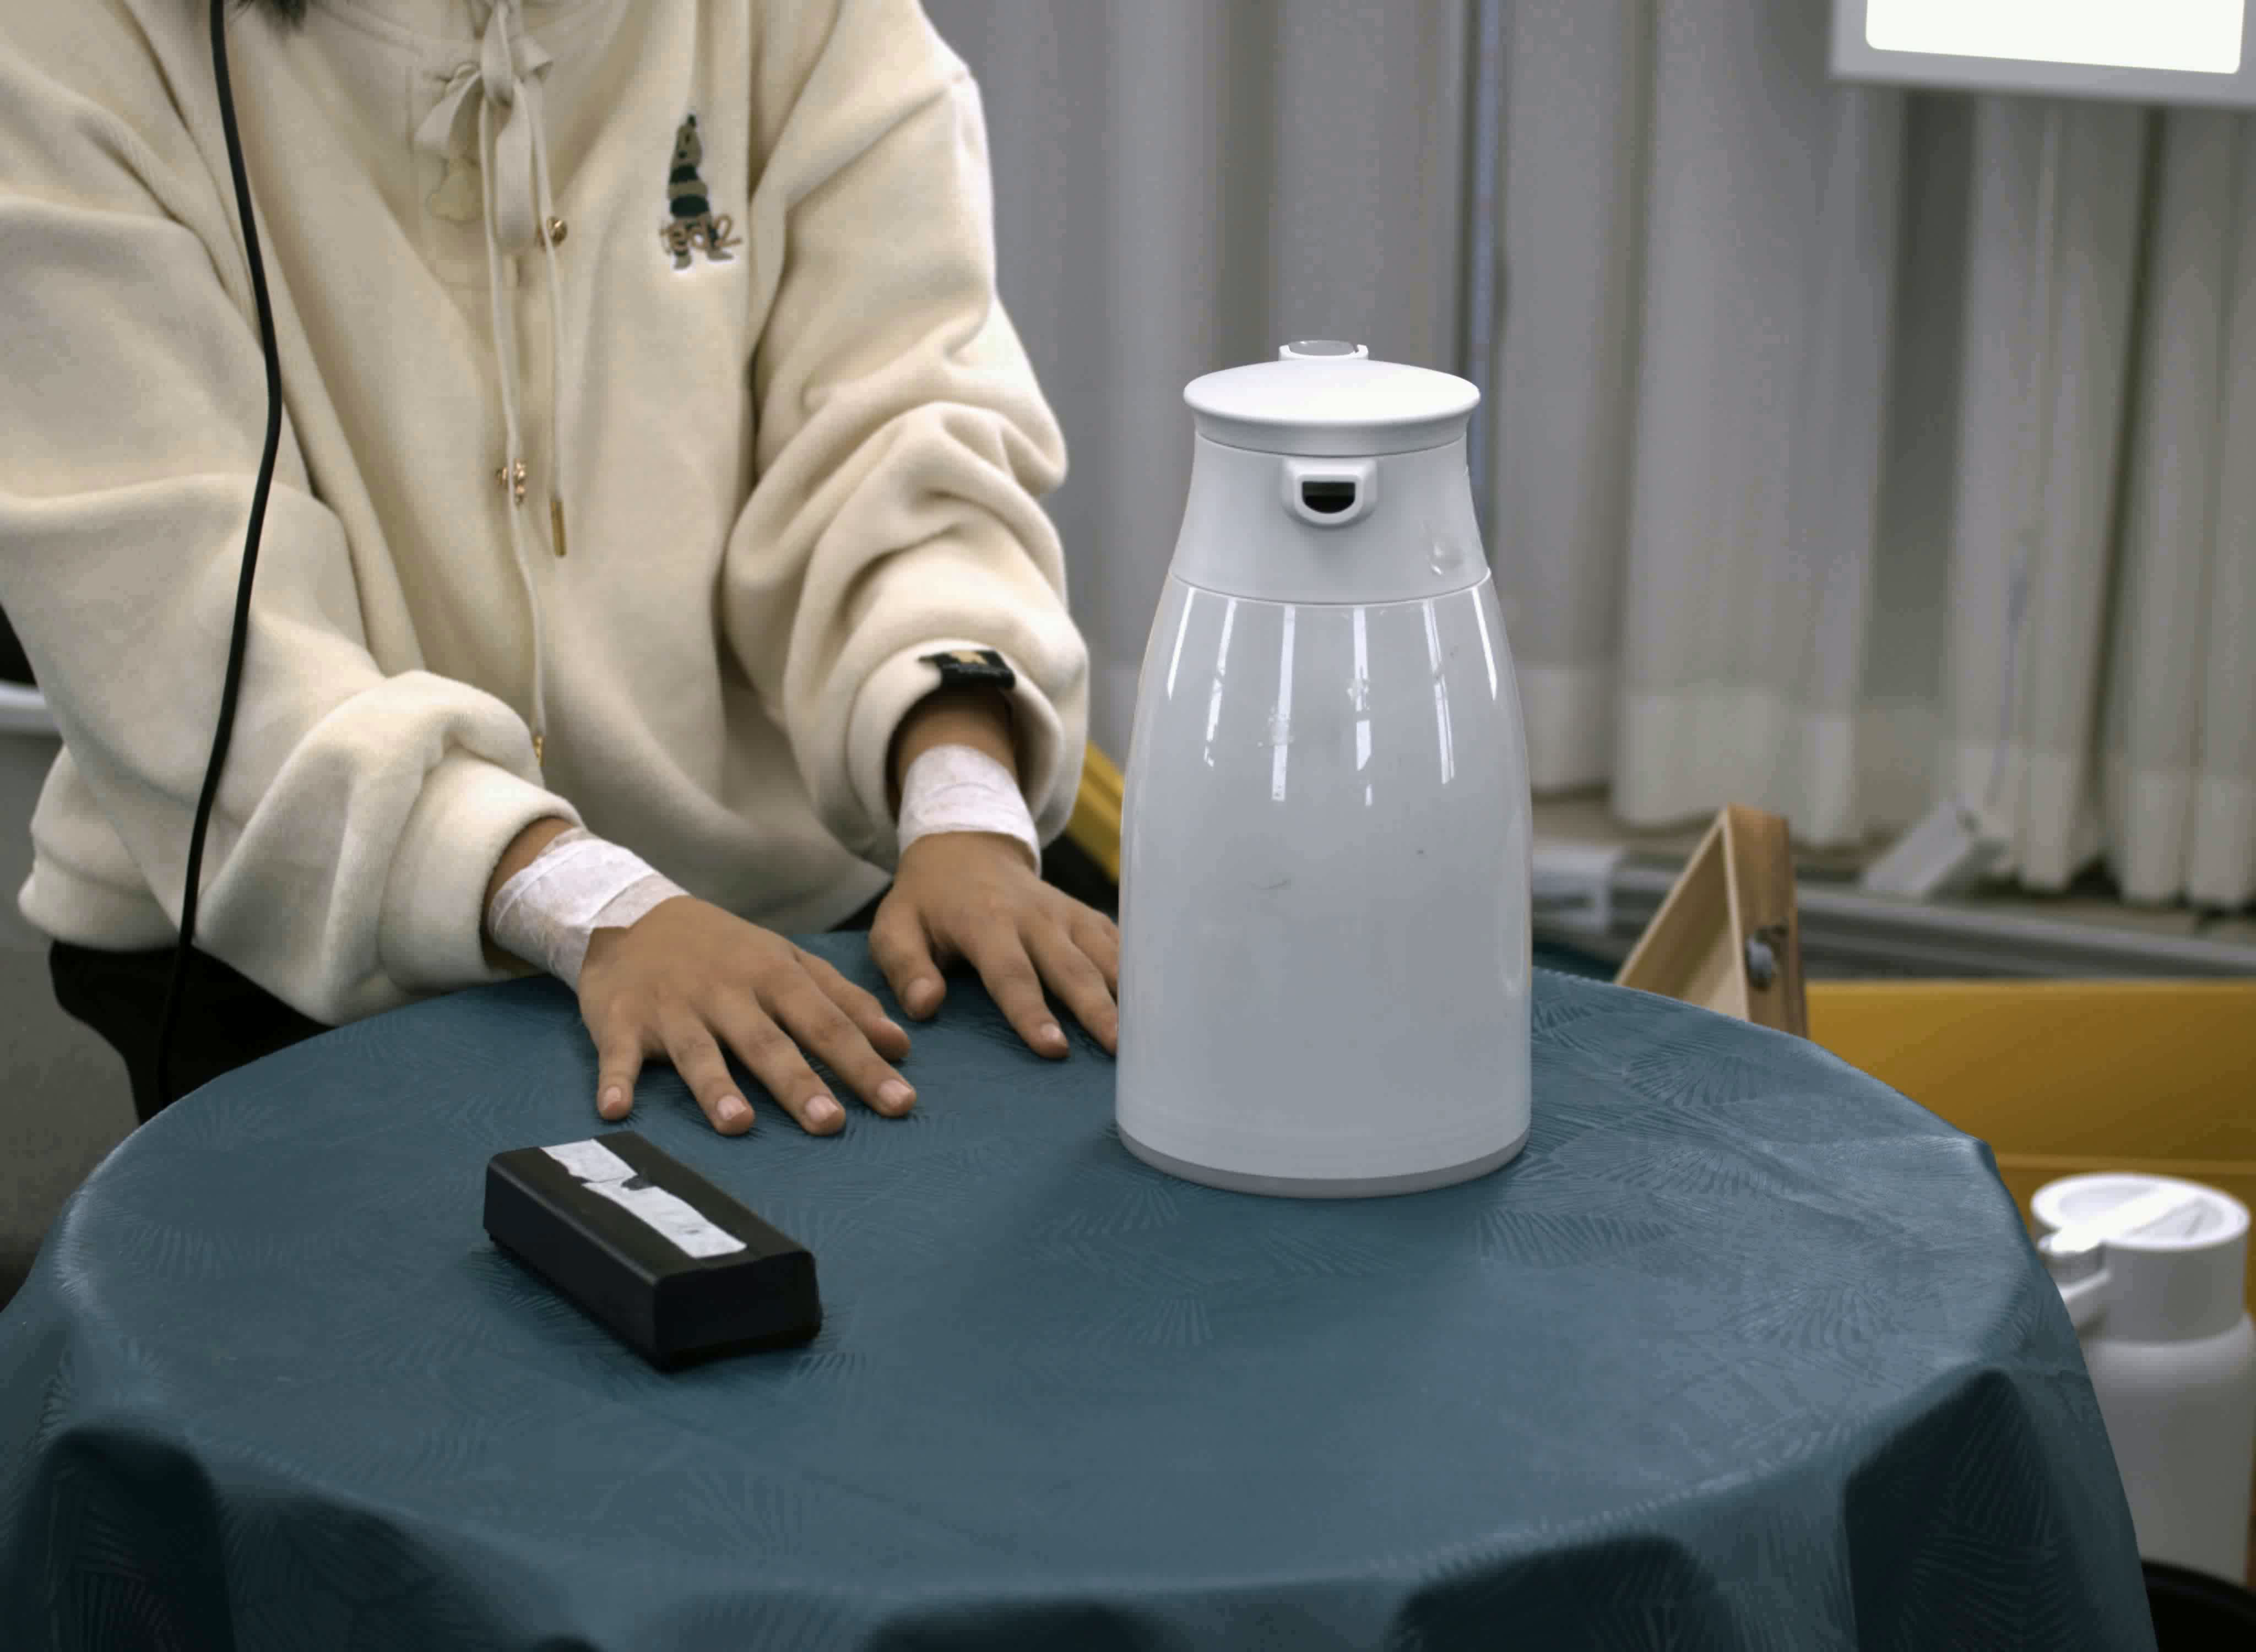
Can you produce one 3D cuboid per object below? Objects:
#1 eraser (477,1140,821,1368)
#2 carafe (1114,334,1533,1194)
[{"bbox_3d":[-0.140,0.123,1.525,0.054,0.031,0.124,-7,17,-30],"label":"eraser"},{"bbox_3d":[0.062,-0.028,1.661,0.132,0.250,0.167,0,15,1],"label":"carafe"}]
